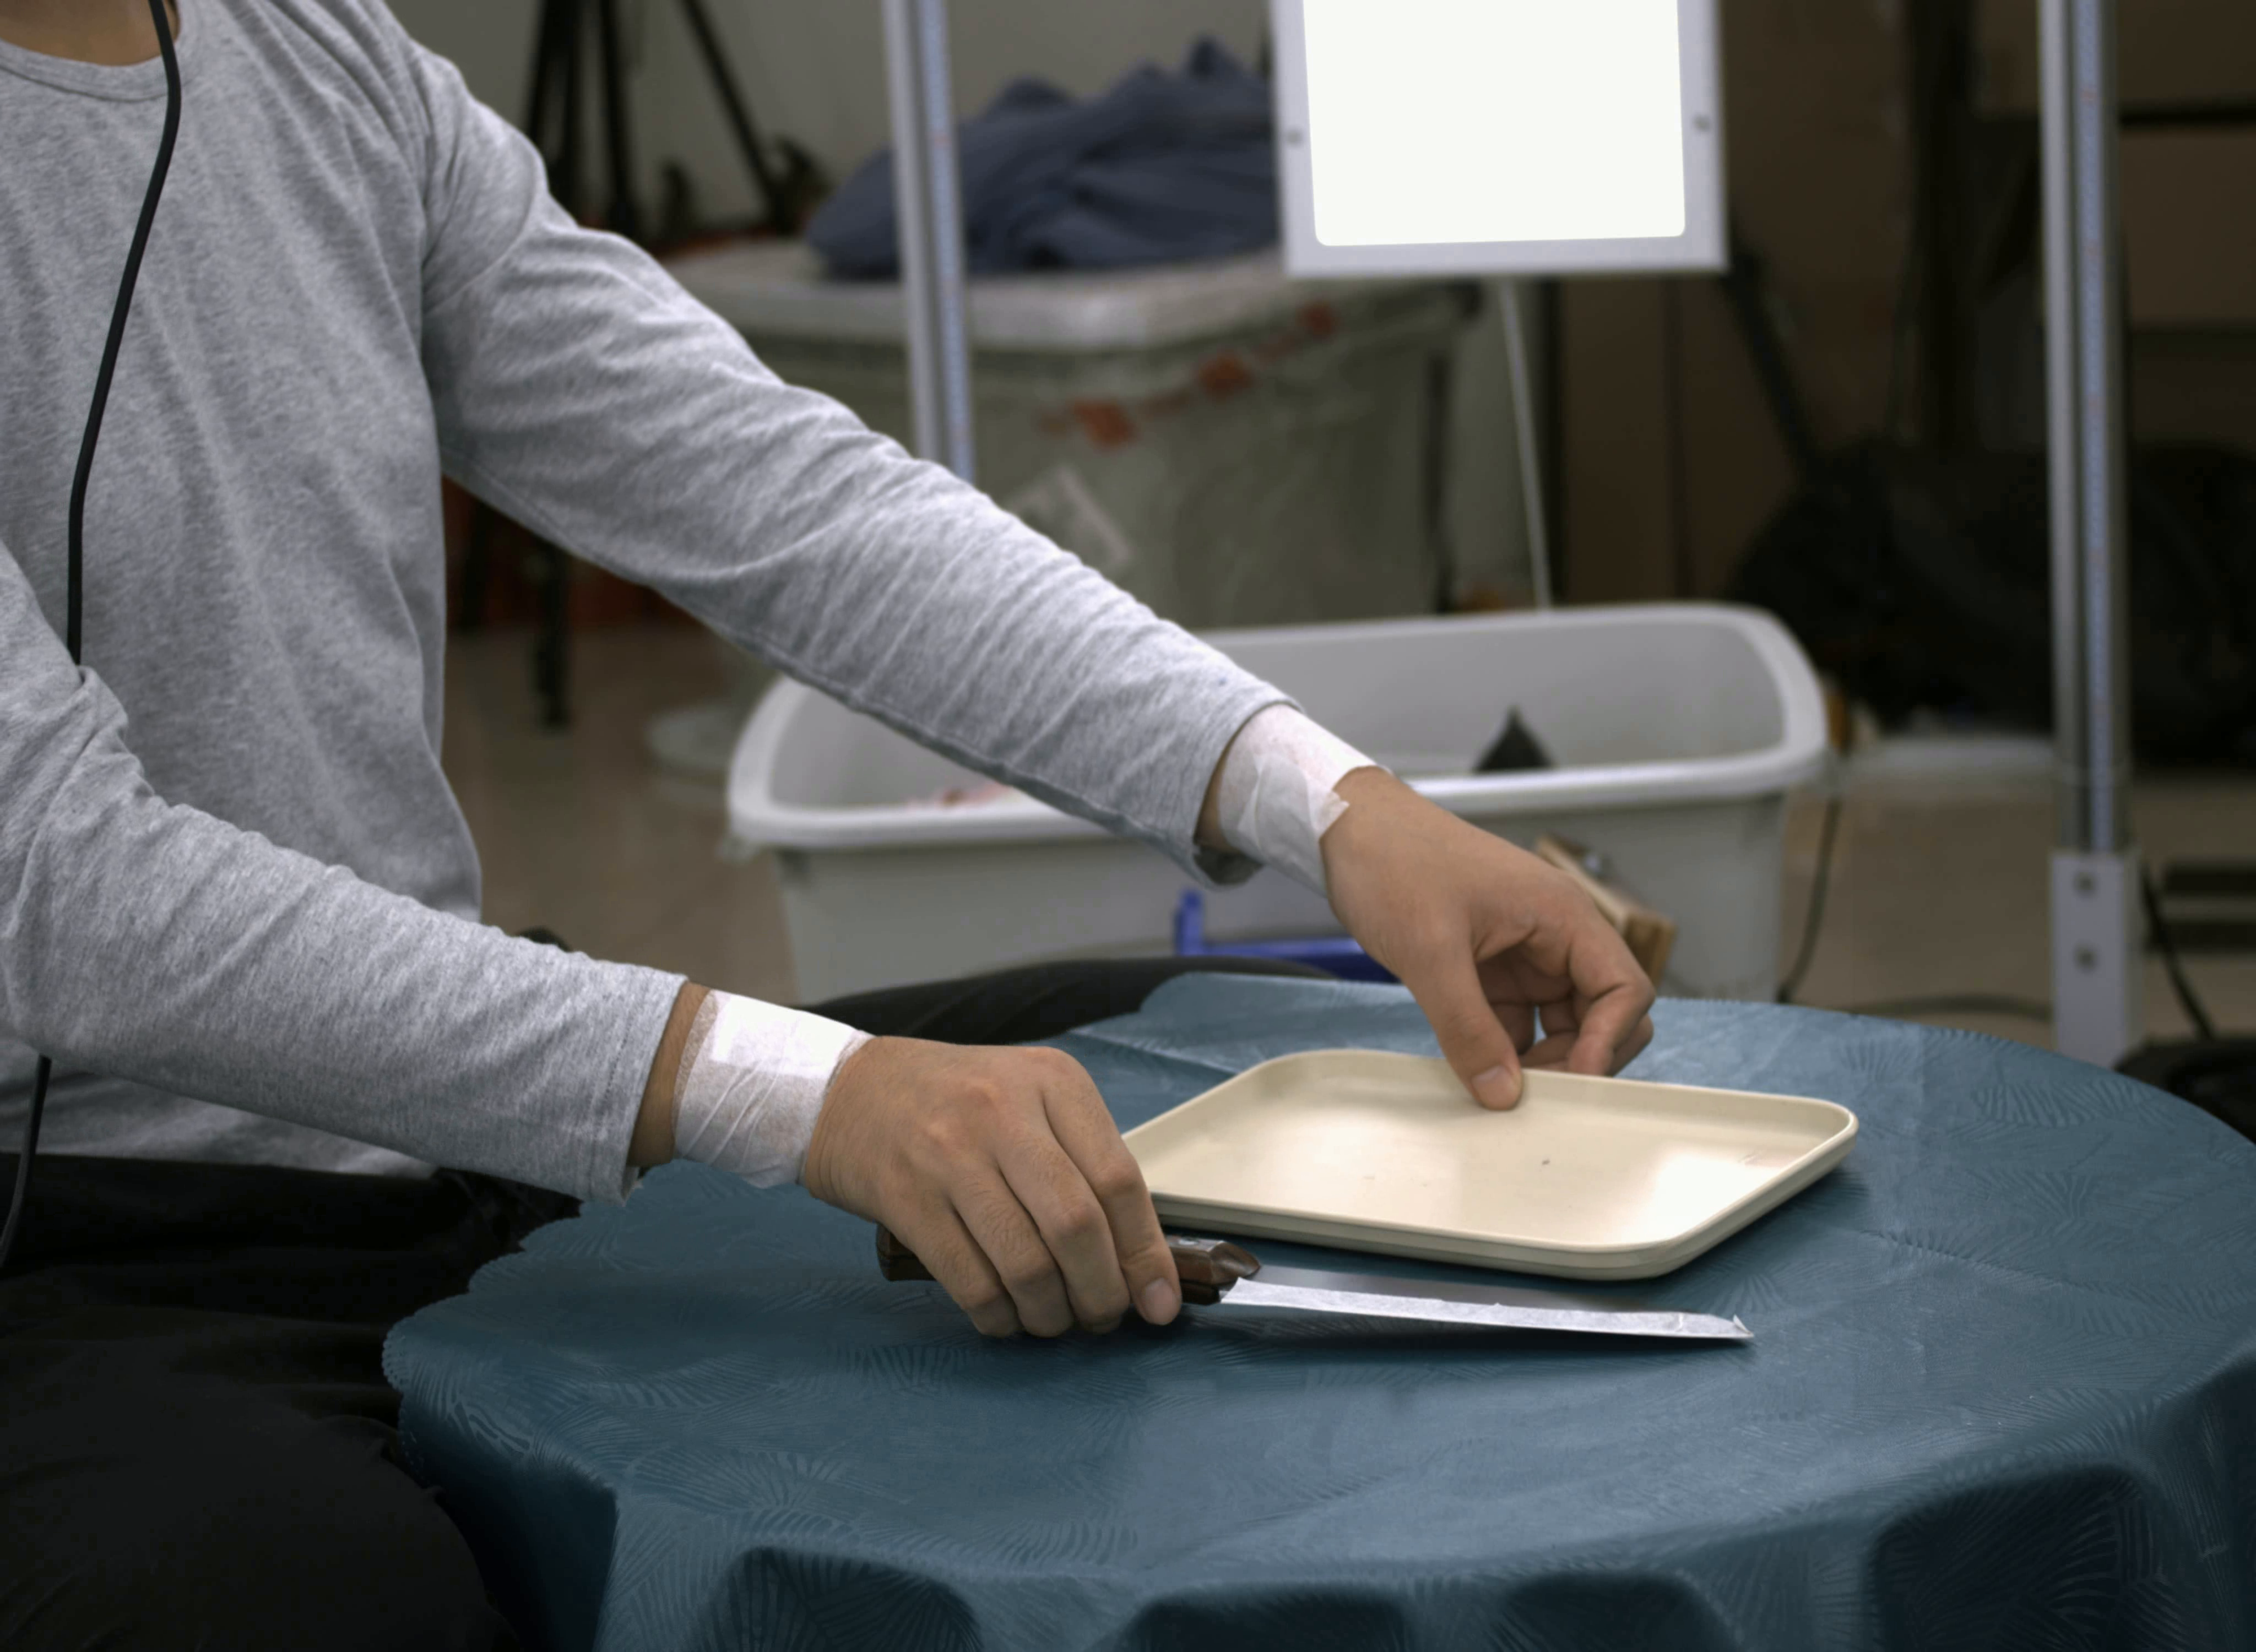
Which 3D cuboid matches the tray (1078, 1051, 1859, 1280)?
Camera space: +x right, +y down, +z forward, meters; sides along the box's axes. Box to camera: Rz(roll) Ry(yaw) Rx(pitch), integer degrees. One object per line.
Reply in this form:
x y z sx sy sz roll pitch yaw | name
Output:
0.116 0.115 1.872 0.244 0.017 0.167 5 16 36 | tray

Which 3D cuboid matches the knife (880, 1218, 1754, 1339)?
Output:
0.056 0.146 1.740 0.292 0.020 0.049 4 14 18 | knife
